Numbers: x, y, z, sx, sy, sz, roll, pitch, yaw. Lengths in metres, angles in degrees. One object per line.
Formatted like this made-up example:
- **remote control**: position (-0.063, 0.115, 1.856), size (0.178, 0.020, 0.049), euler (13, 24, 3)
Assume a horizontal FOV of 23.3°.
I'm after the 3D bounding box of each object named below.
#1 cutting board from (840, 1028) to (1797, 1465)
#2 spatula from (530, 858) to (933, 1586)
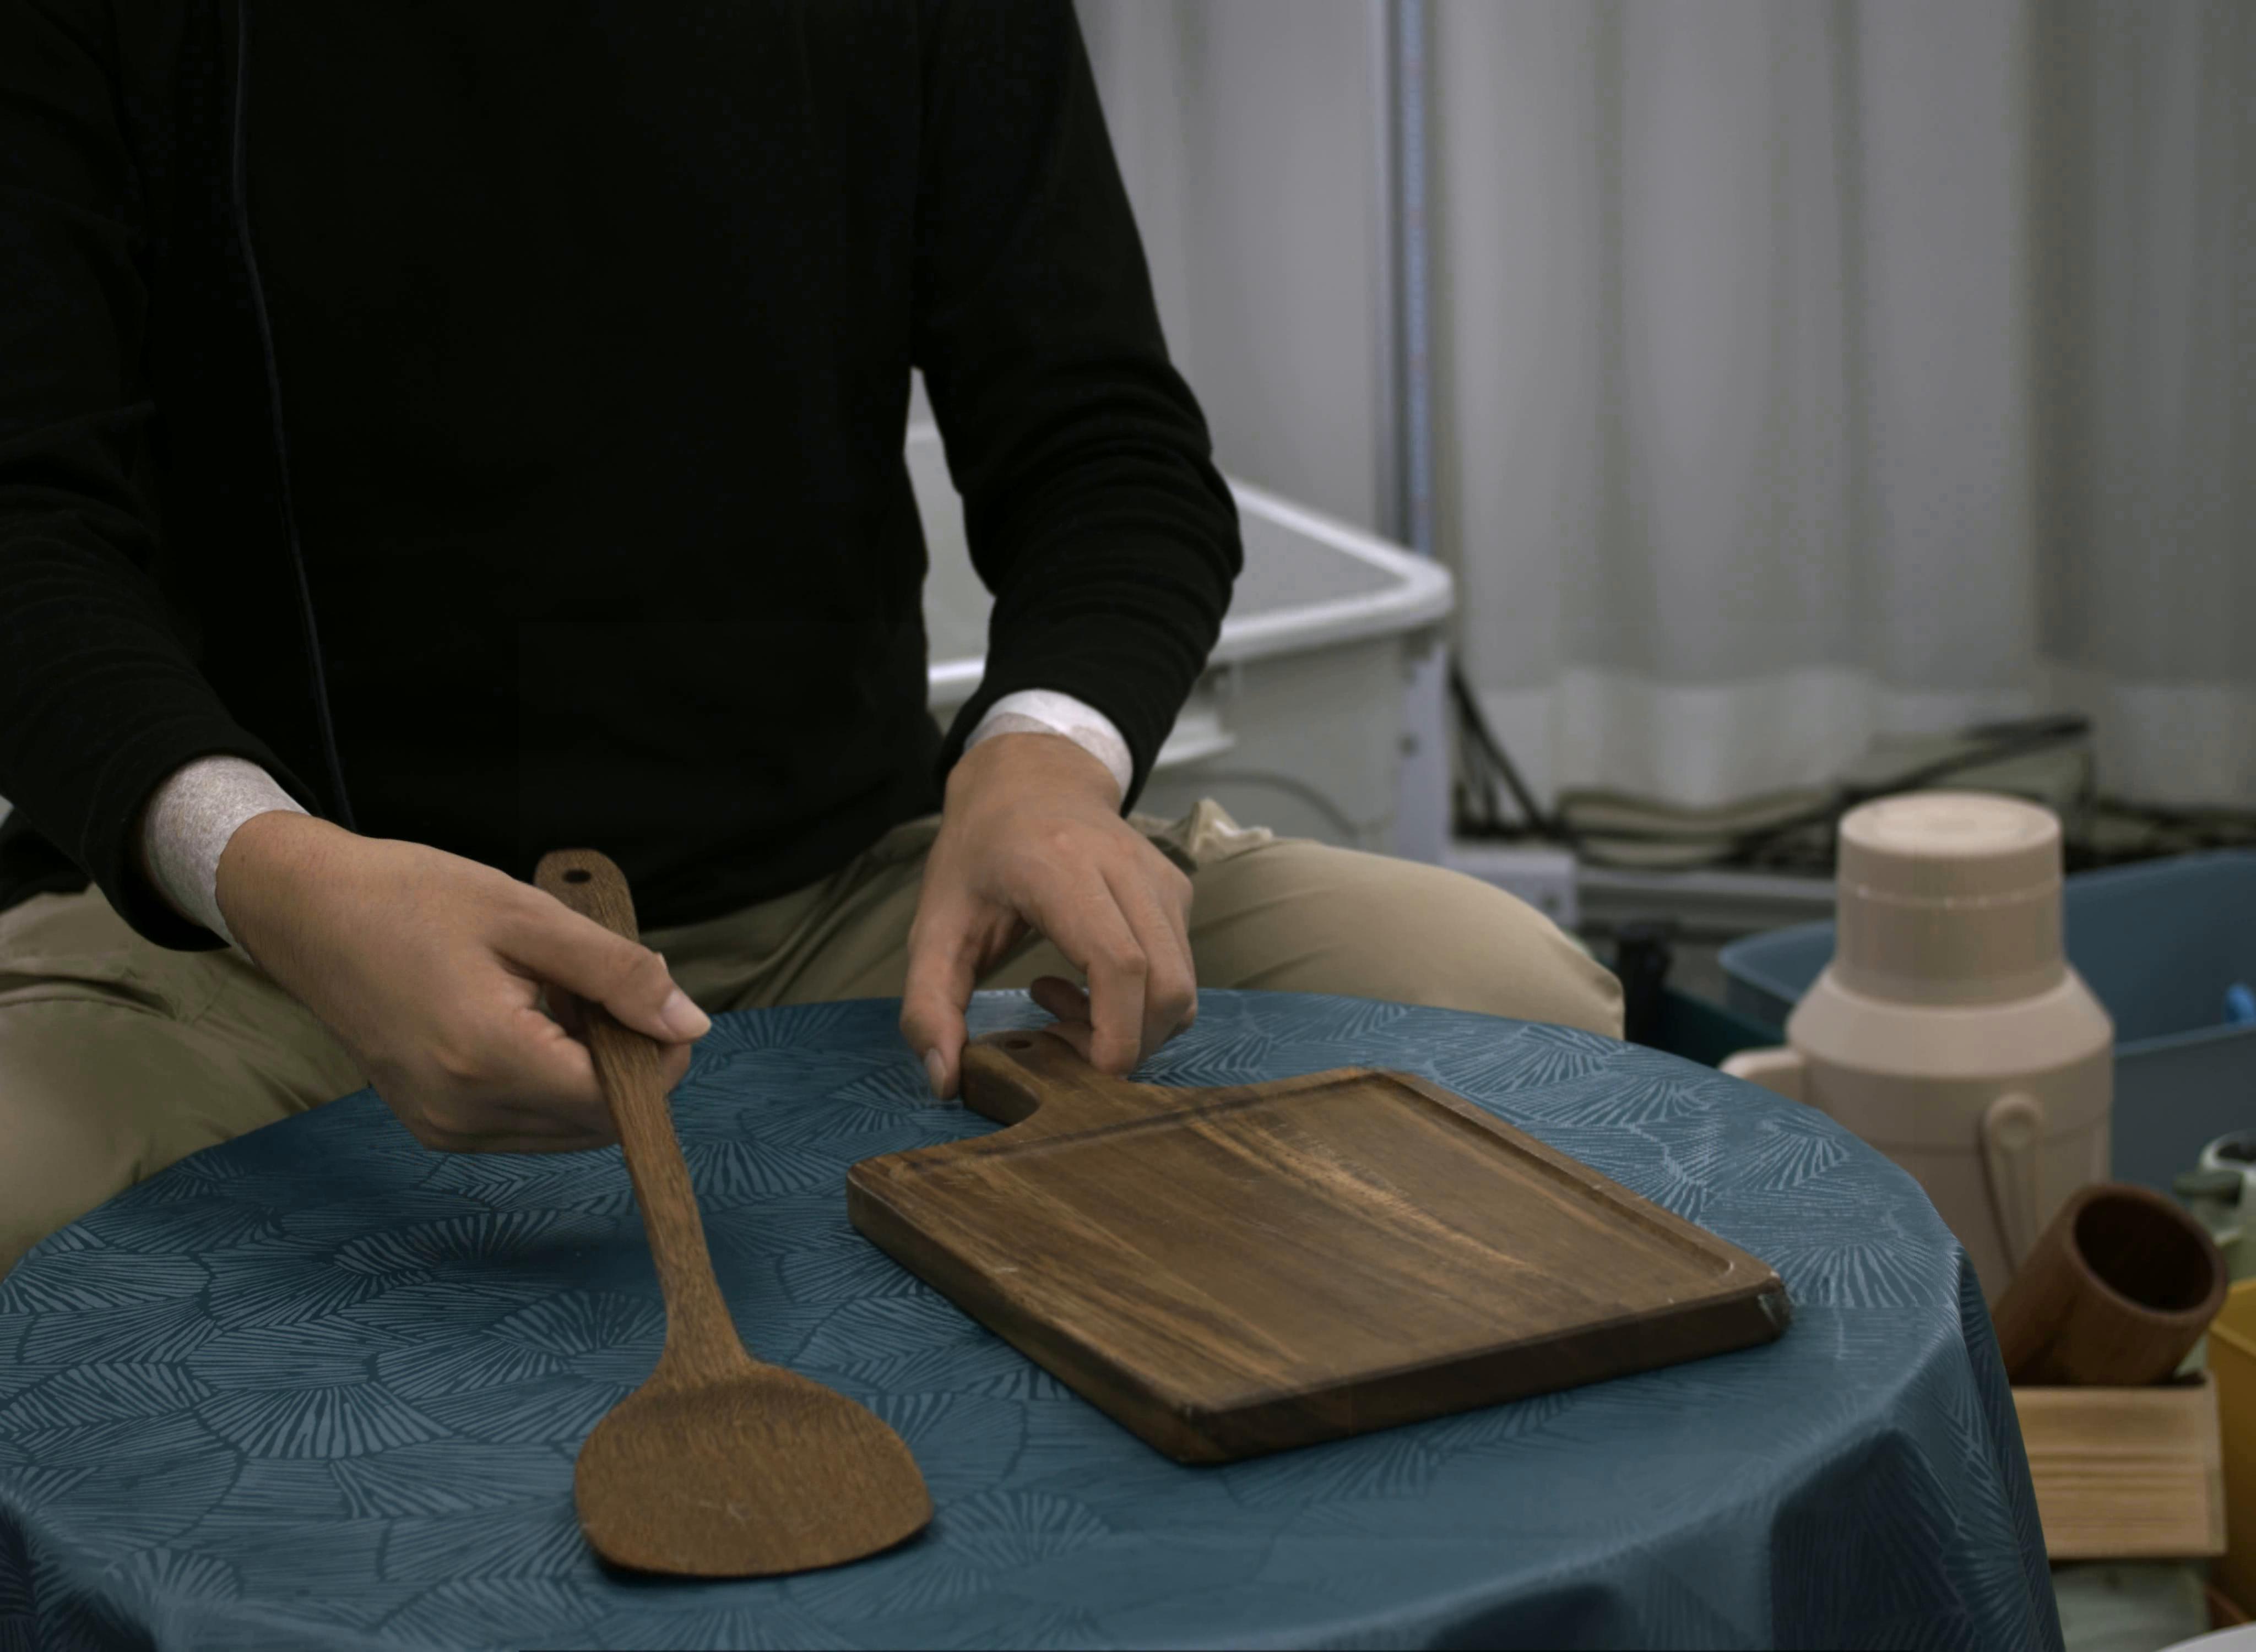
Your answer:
- **cutting board**: position (0.030, 0.114, 1.669), size (0.200, 0.023, 0.355), euler (-9, 16, -24)
- **spatula**: position (-0.136, 0.103, 1.590), size (0.095, 0.015, 0.391), euler (-5, 30, -12)
